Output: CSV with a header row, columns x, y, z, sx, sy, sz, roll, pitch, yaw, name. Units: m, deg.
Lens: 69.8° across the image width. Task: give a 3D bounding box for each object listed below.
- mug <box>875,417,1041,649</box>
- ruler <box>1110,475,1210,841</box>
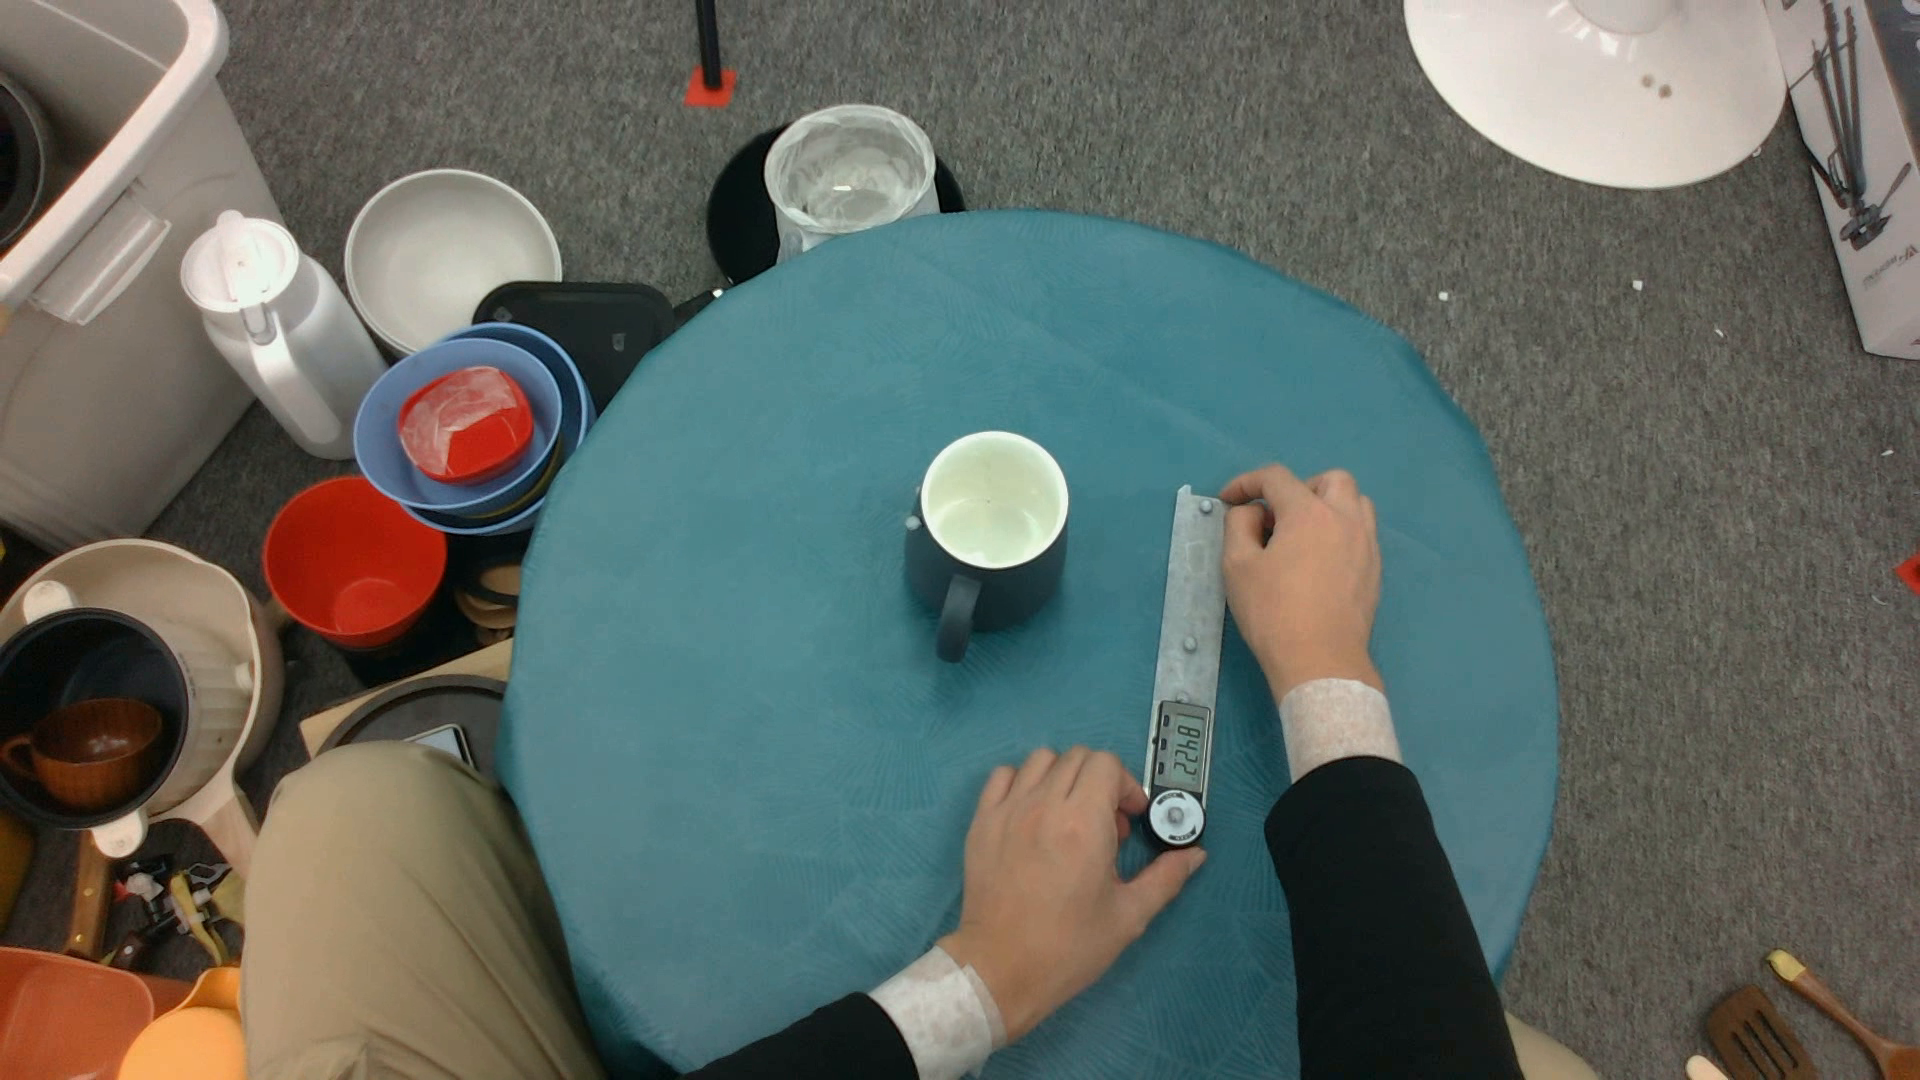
x,y,z,sx,sy,sz,roll,pitch,yaw,name
-0.005,0.001,0.759,0.093,0.089,0.124,19,65,4,mug
0.116,0.061,0.781,0.038,0.024,0.219,12,68,-4,ruler
